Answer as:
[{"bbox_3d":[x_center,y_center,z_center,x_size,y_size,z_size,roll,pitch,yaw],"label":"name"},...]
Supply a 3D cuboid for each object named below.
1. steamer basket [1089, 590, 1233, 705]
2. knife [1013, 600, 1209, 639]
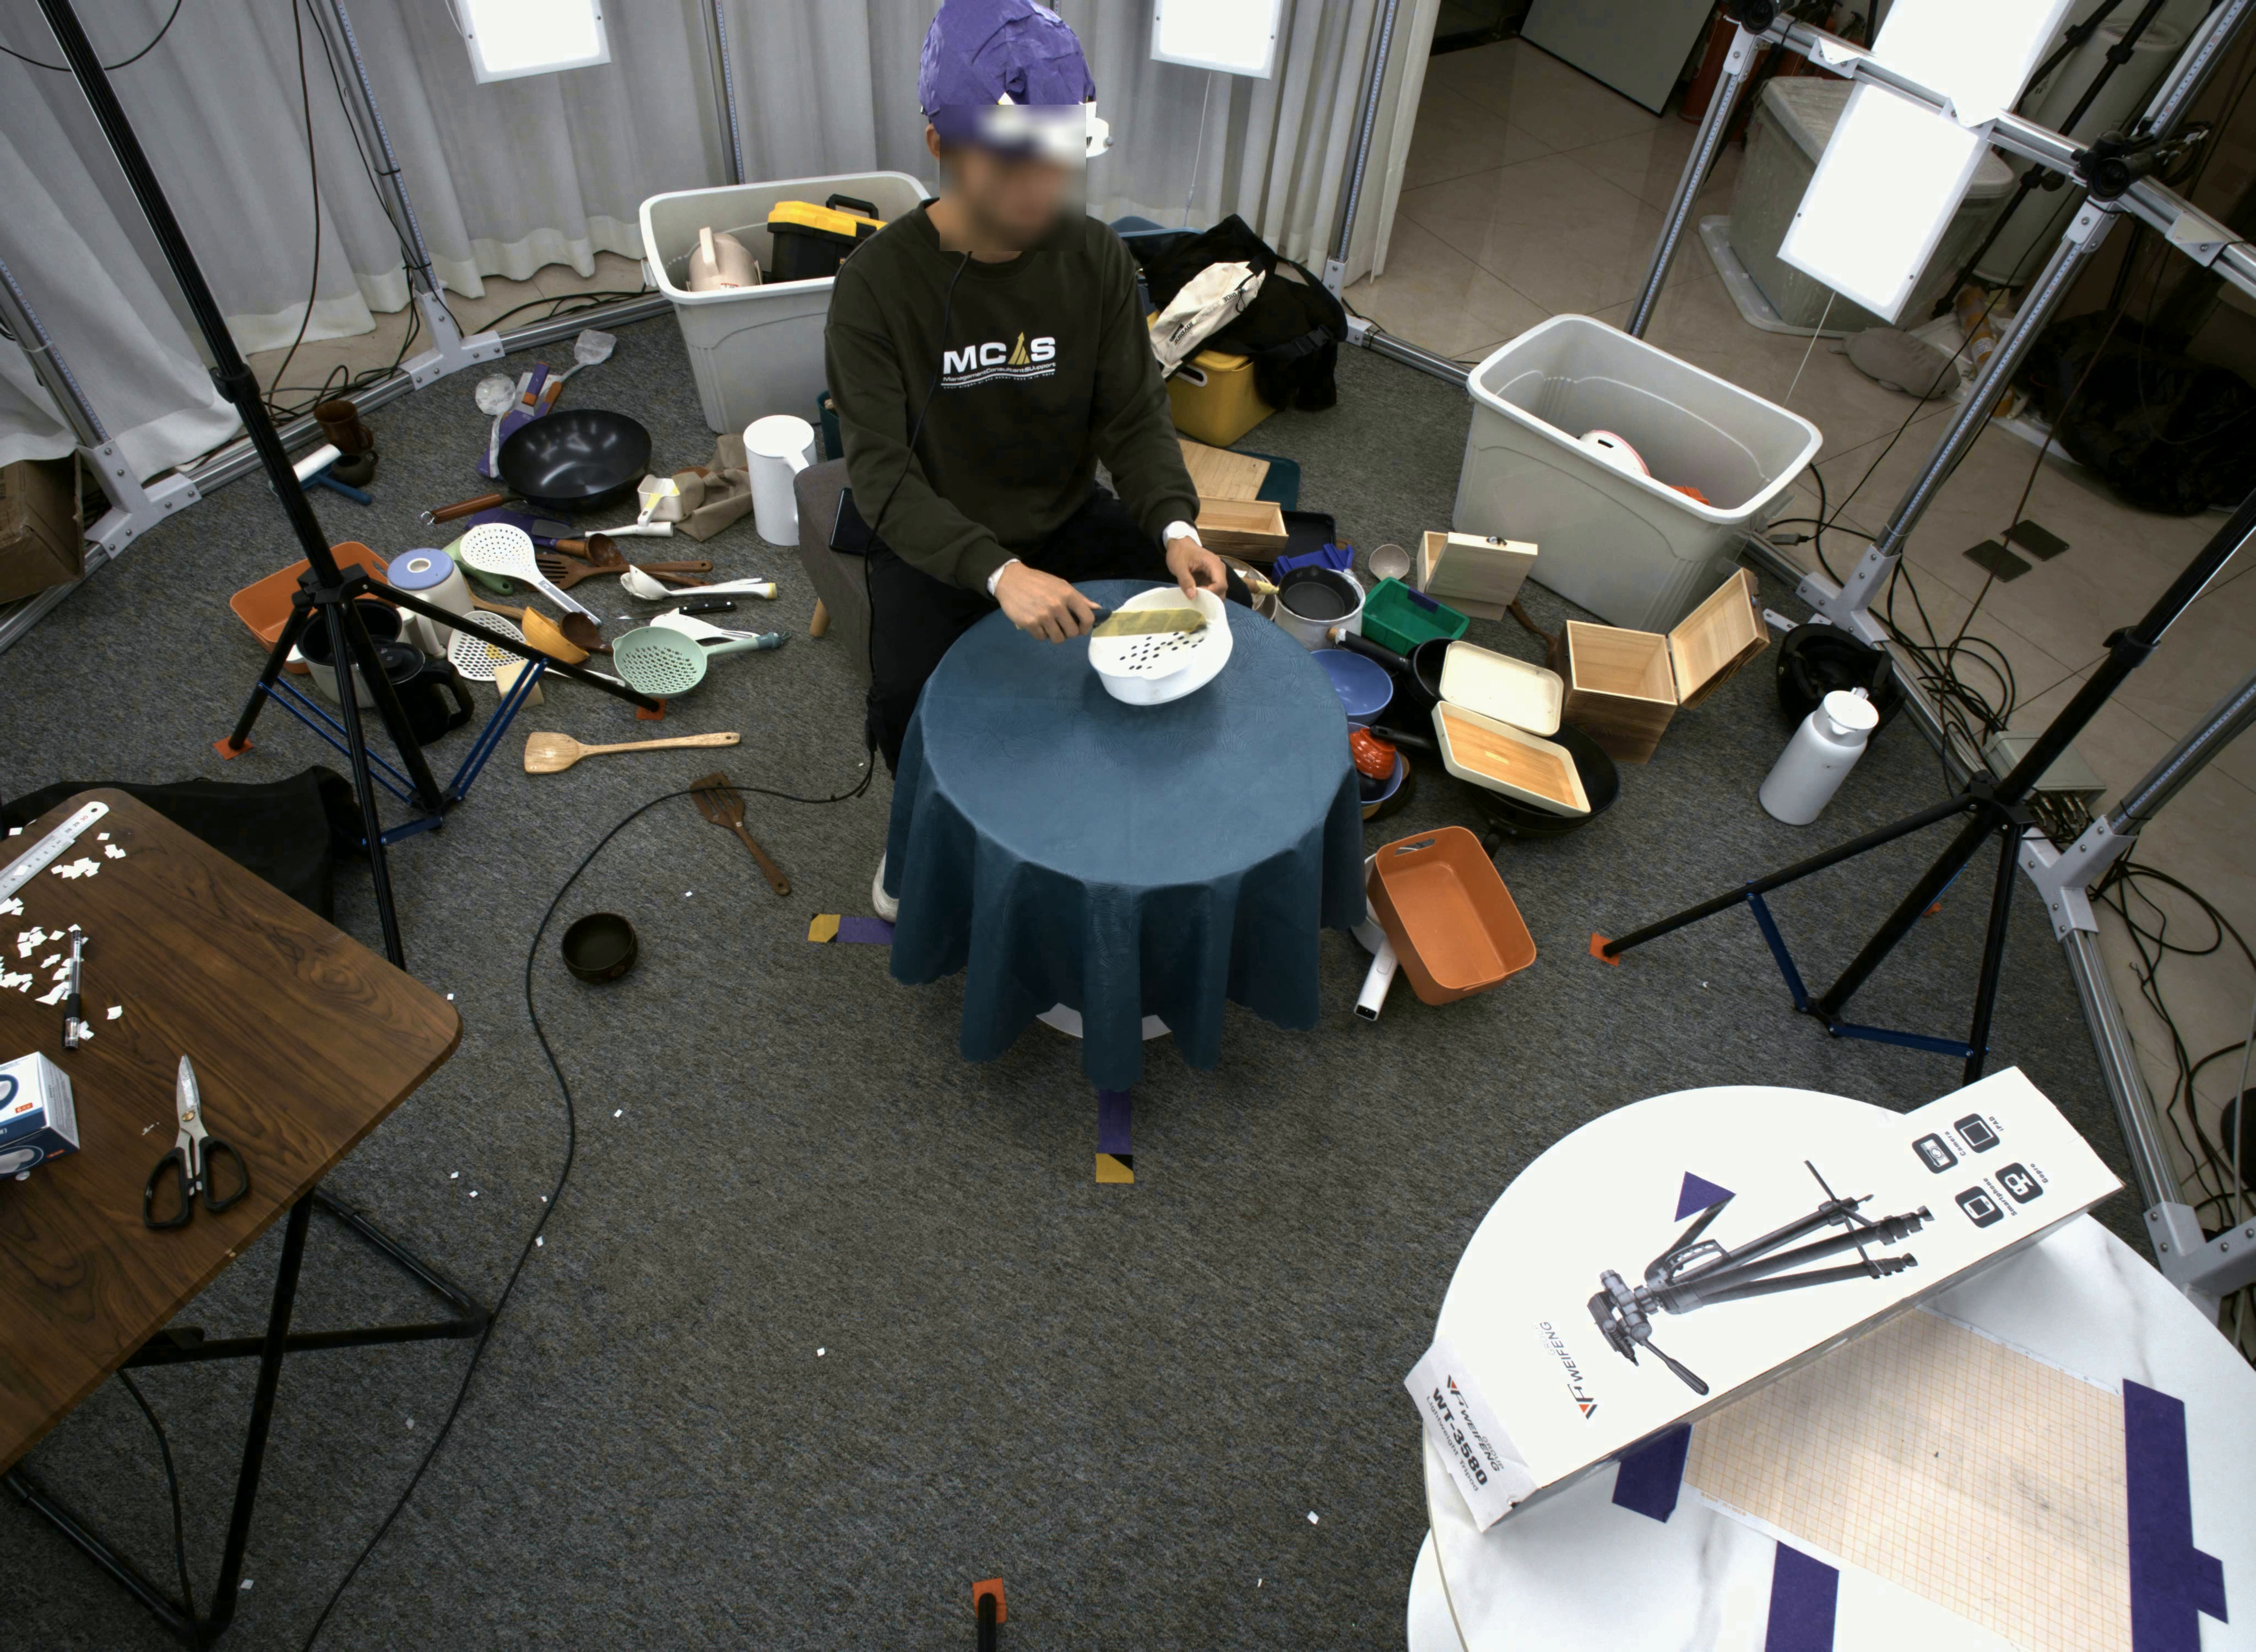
[{"bbox_3d":[0.049,-0.249,1.801,0.201,0.067,0.236,-19,35,7],"label":"steamer basket"},{"bbox_3d":[-0.021,-0.287,1.793,0.288,0.079,0.028,1,61,-17],"label":"knife"}]
